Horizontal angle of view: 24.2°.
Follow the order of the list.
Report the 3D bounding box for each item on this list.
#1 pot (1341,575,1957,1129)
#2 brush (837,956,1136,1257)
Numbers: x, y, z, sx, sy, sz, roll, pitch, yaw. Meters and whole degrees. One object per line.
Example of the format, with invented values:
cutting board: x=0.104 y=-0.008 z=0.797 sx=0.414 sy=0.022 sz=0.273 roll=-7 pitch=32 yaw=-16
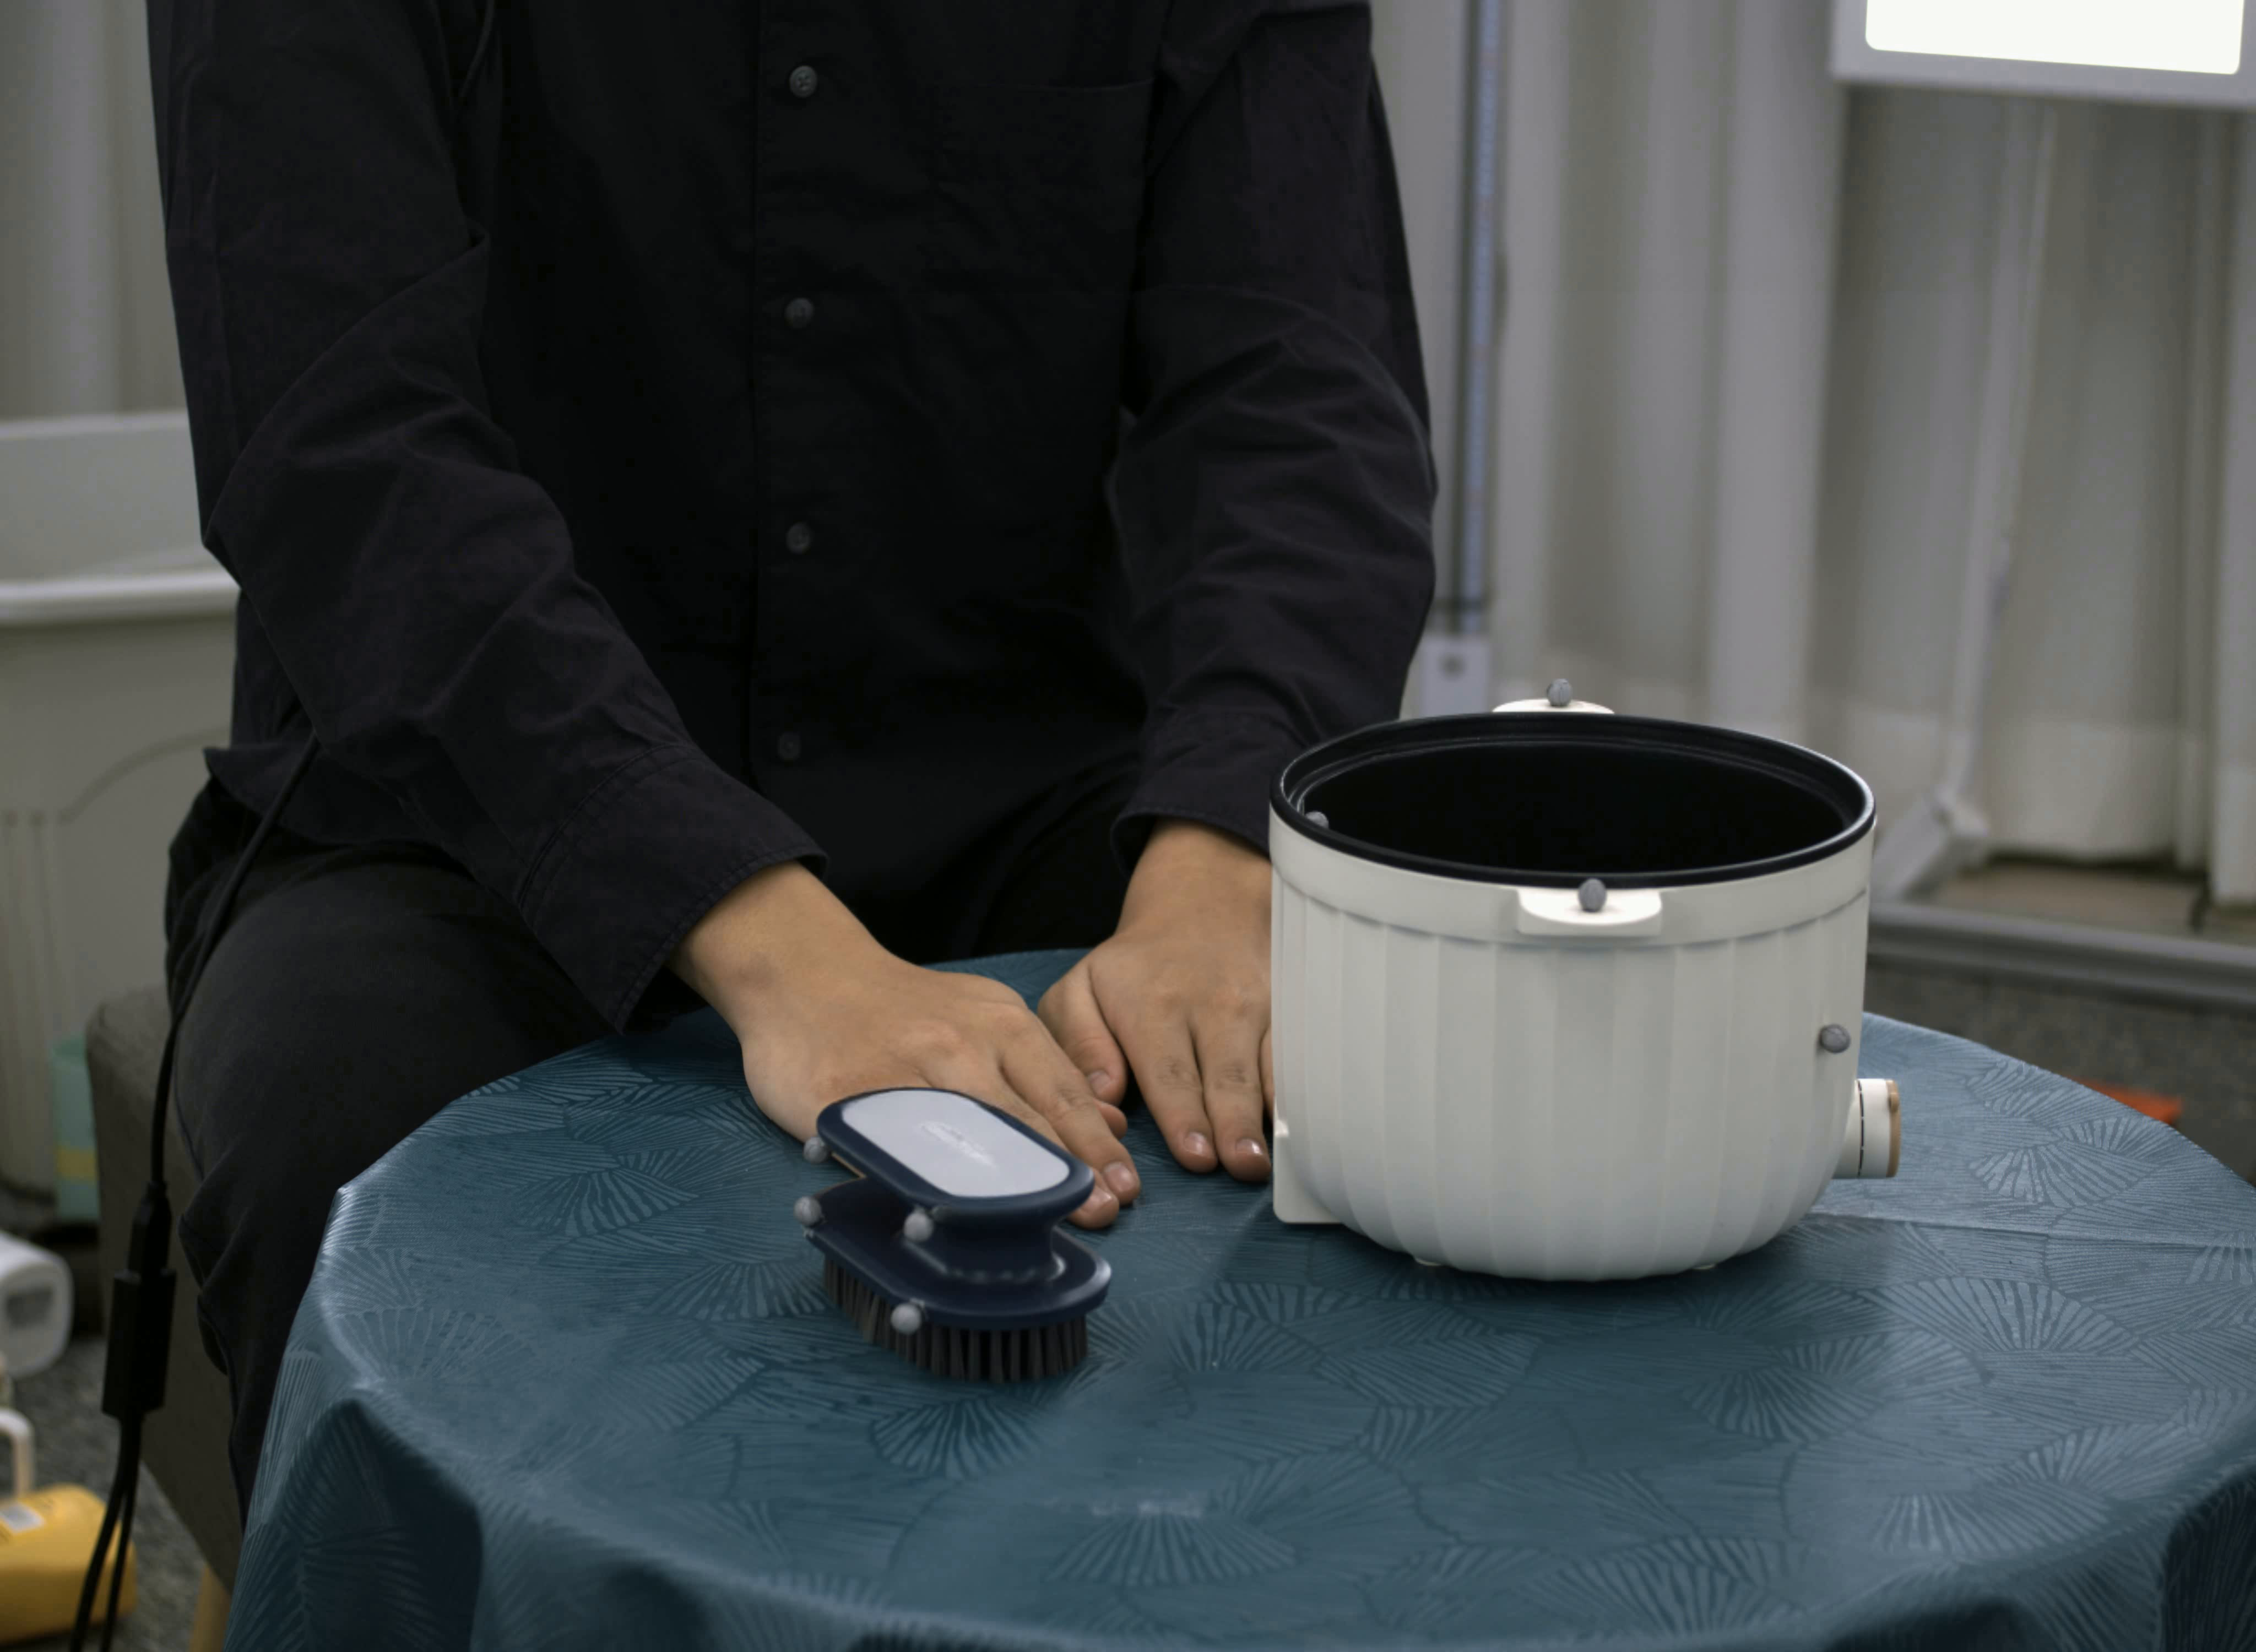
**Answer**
pot: x=0.161 y=0.010 z=1.632 sx=0.190 sy=0.144 sz=0.239 roll=-2 pitch=17 yaw=1
brush: x=-0.042 y=0.084 z=1.549 sx=0.068 sy=0.062 sz=0.120 roll=-10 pitch=22 yaw=-22
